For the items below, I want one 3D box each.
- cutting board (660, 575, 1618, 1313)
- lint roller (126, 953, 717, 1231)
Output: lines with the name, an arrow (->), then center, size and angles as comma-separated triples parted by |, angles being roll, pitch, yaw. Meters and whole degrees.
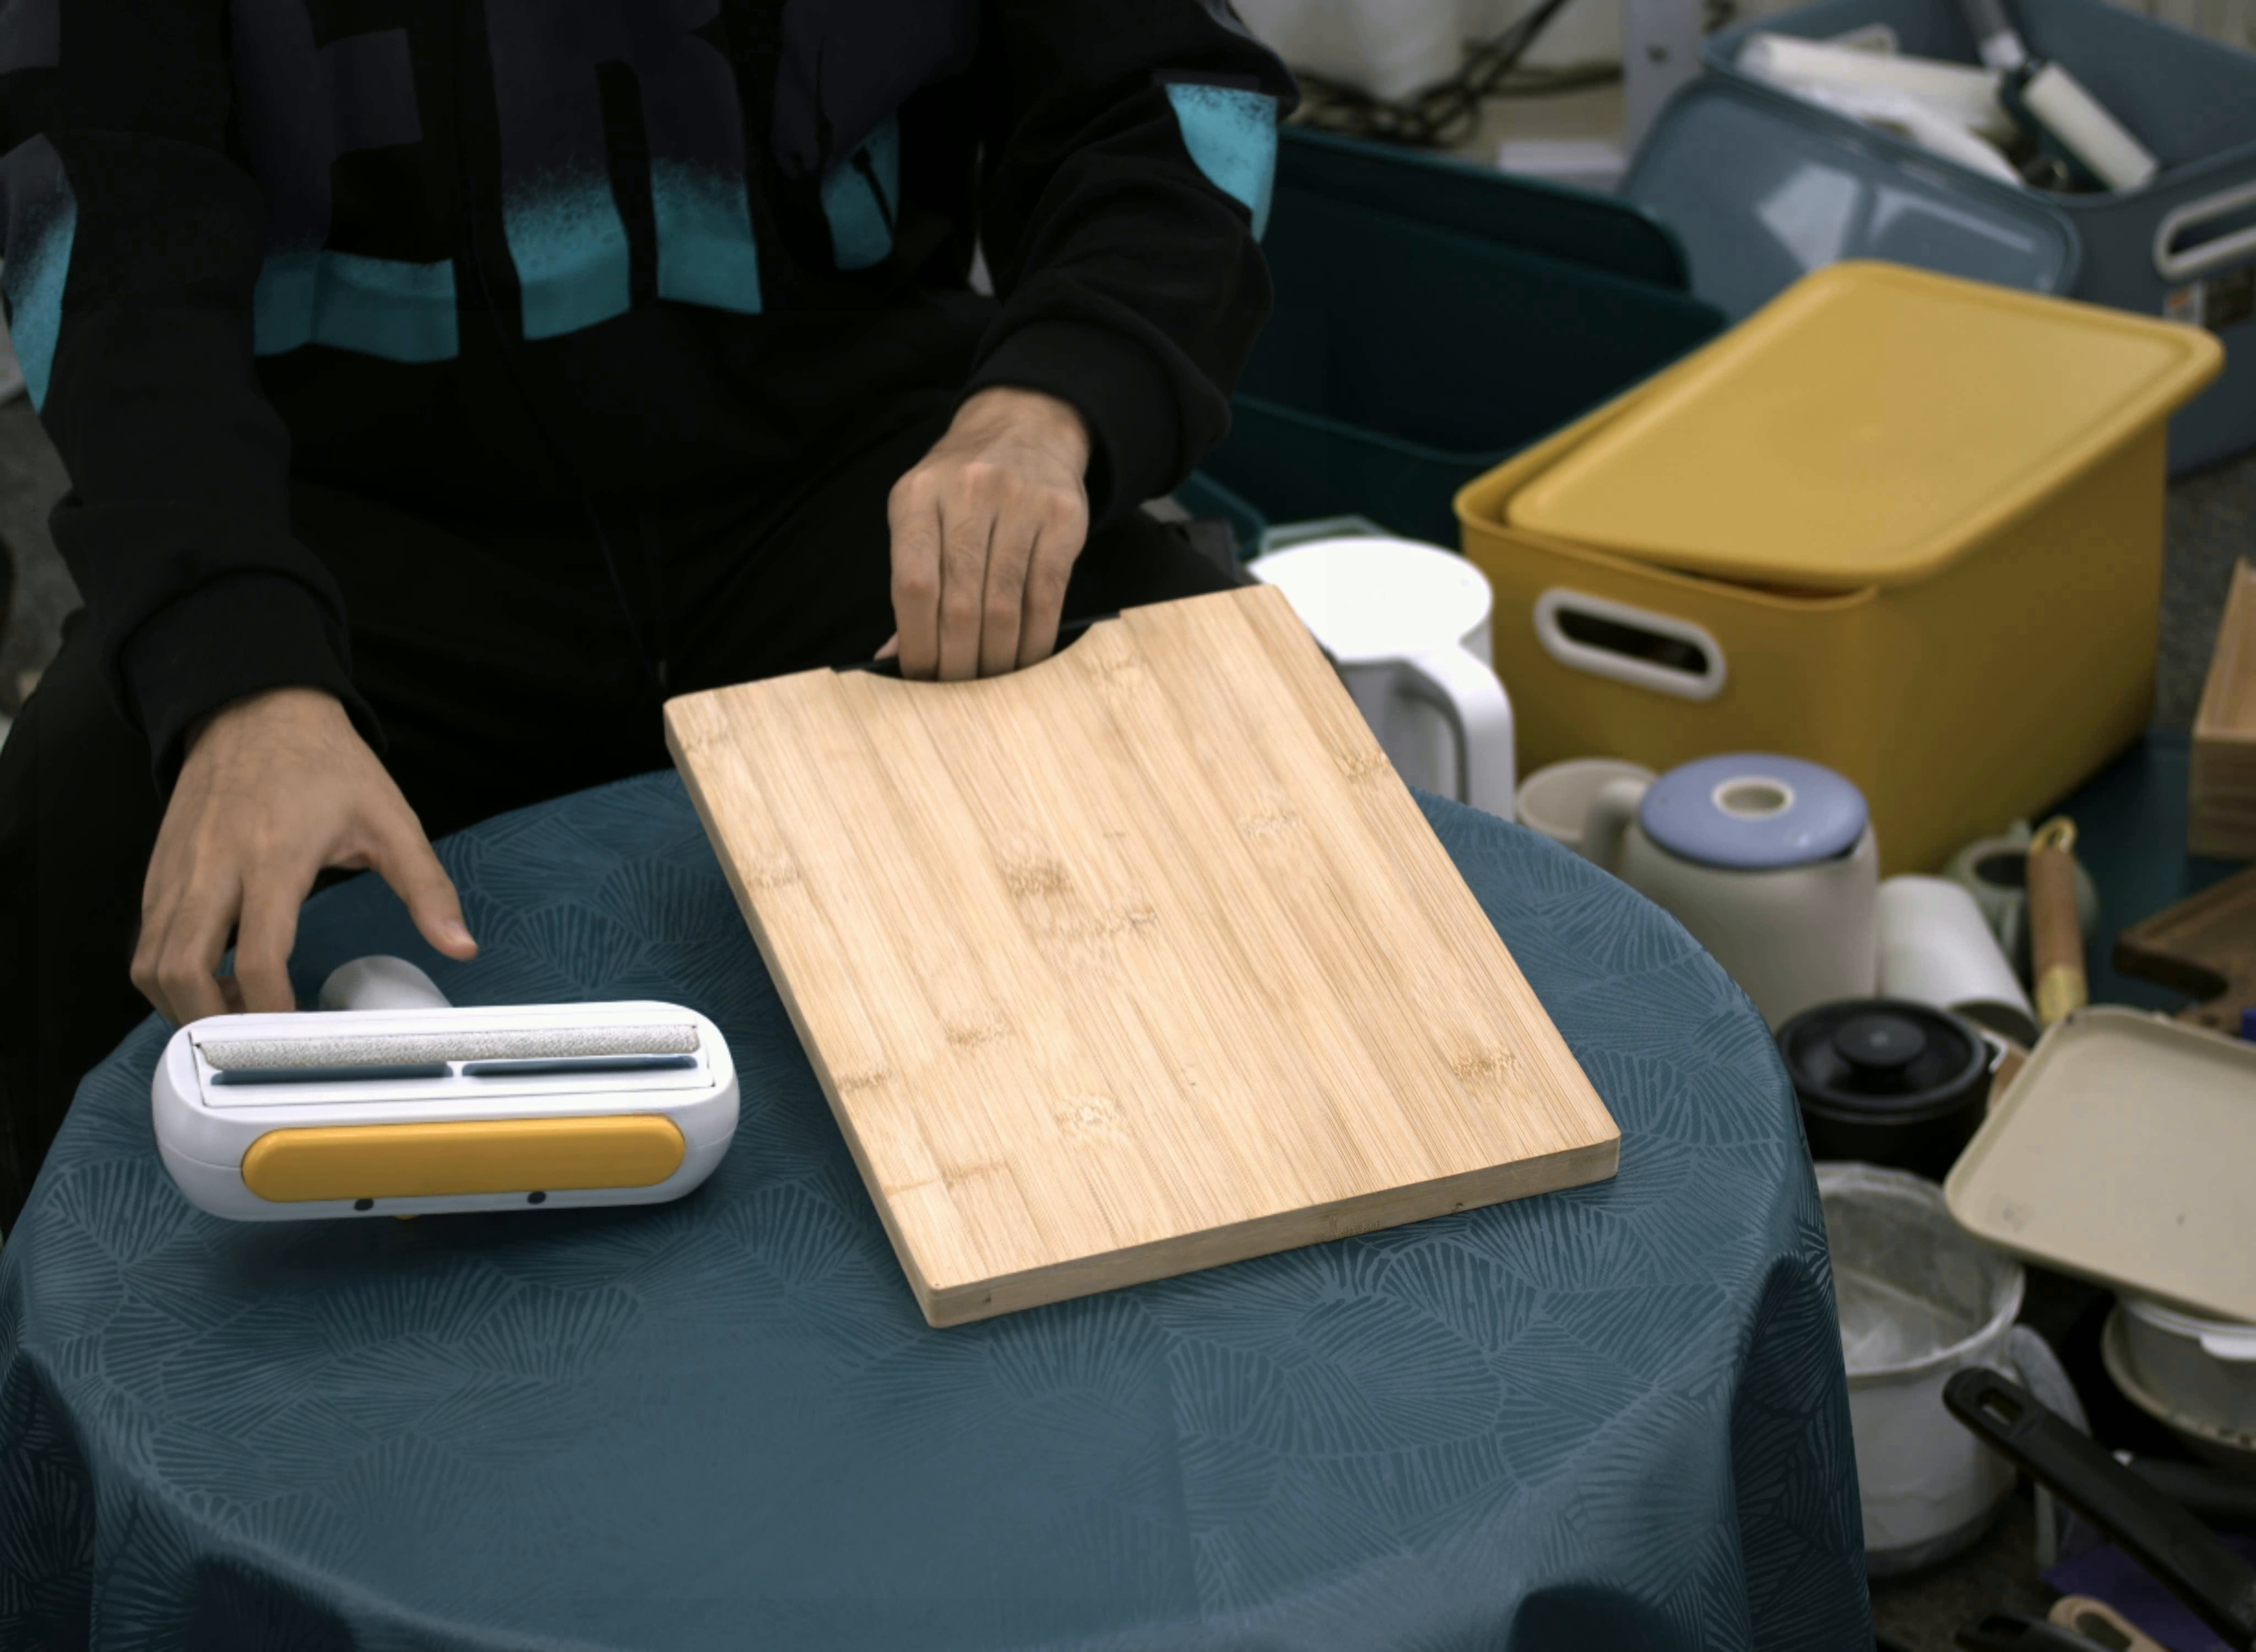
cutting board -> -0.005, 0.033, 1.954 | 0.251, 0.023, 0.353 | -11, 38, -16
lint roller -> -0.243, 0.077, 1.899 | 0.192, 0.073, 0.194 | -4, 25, -13
